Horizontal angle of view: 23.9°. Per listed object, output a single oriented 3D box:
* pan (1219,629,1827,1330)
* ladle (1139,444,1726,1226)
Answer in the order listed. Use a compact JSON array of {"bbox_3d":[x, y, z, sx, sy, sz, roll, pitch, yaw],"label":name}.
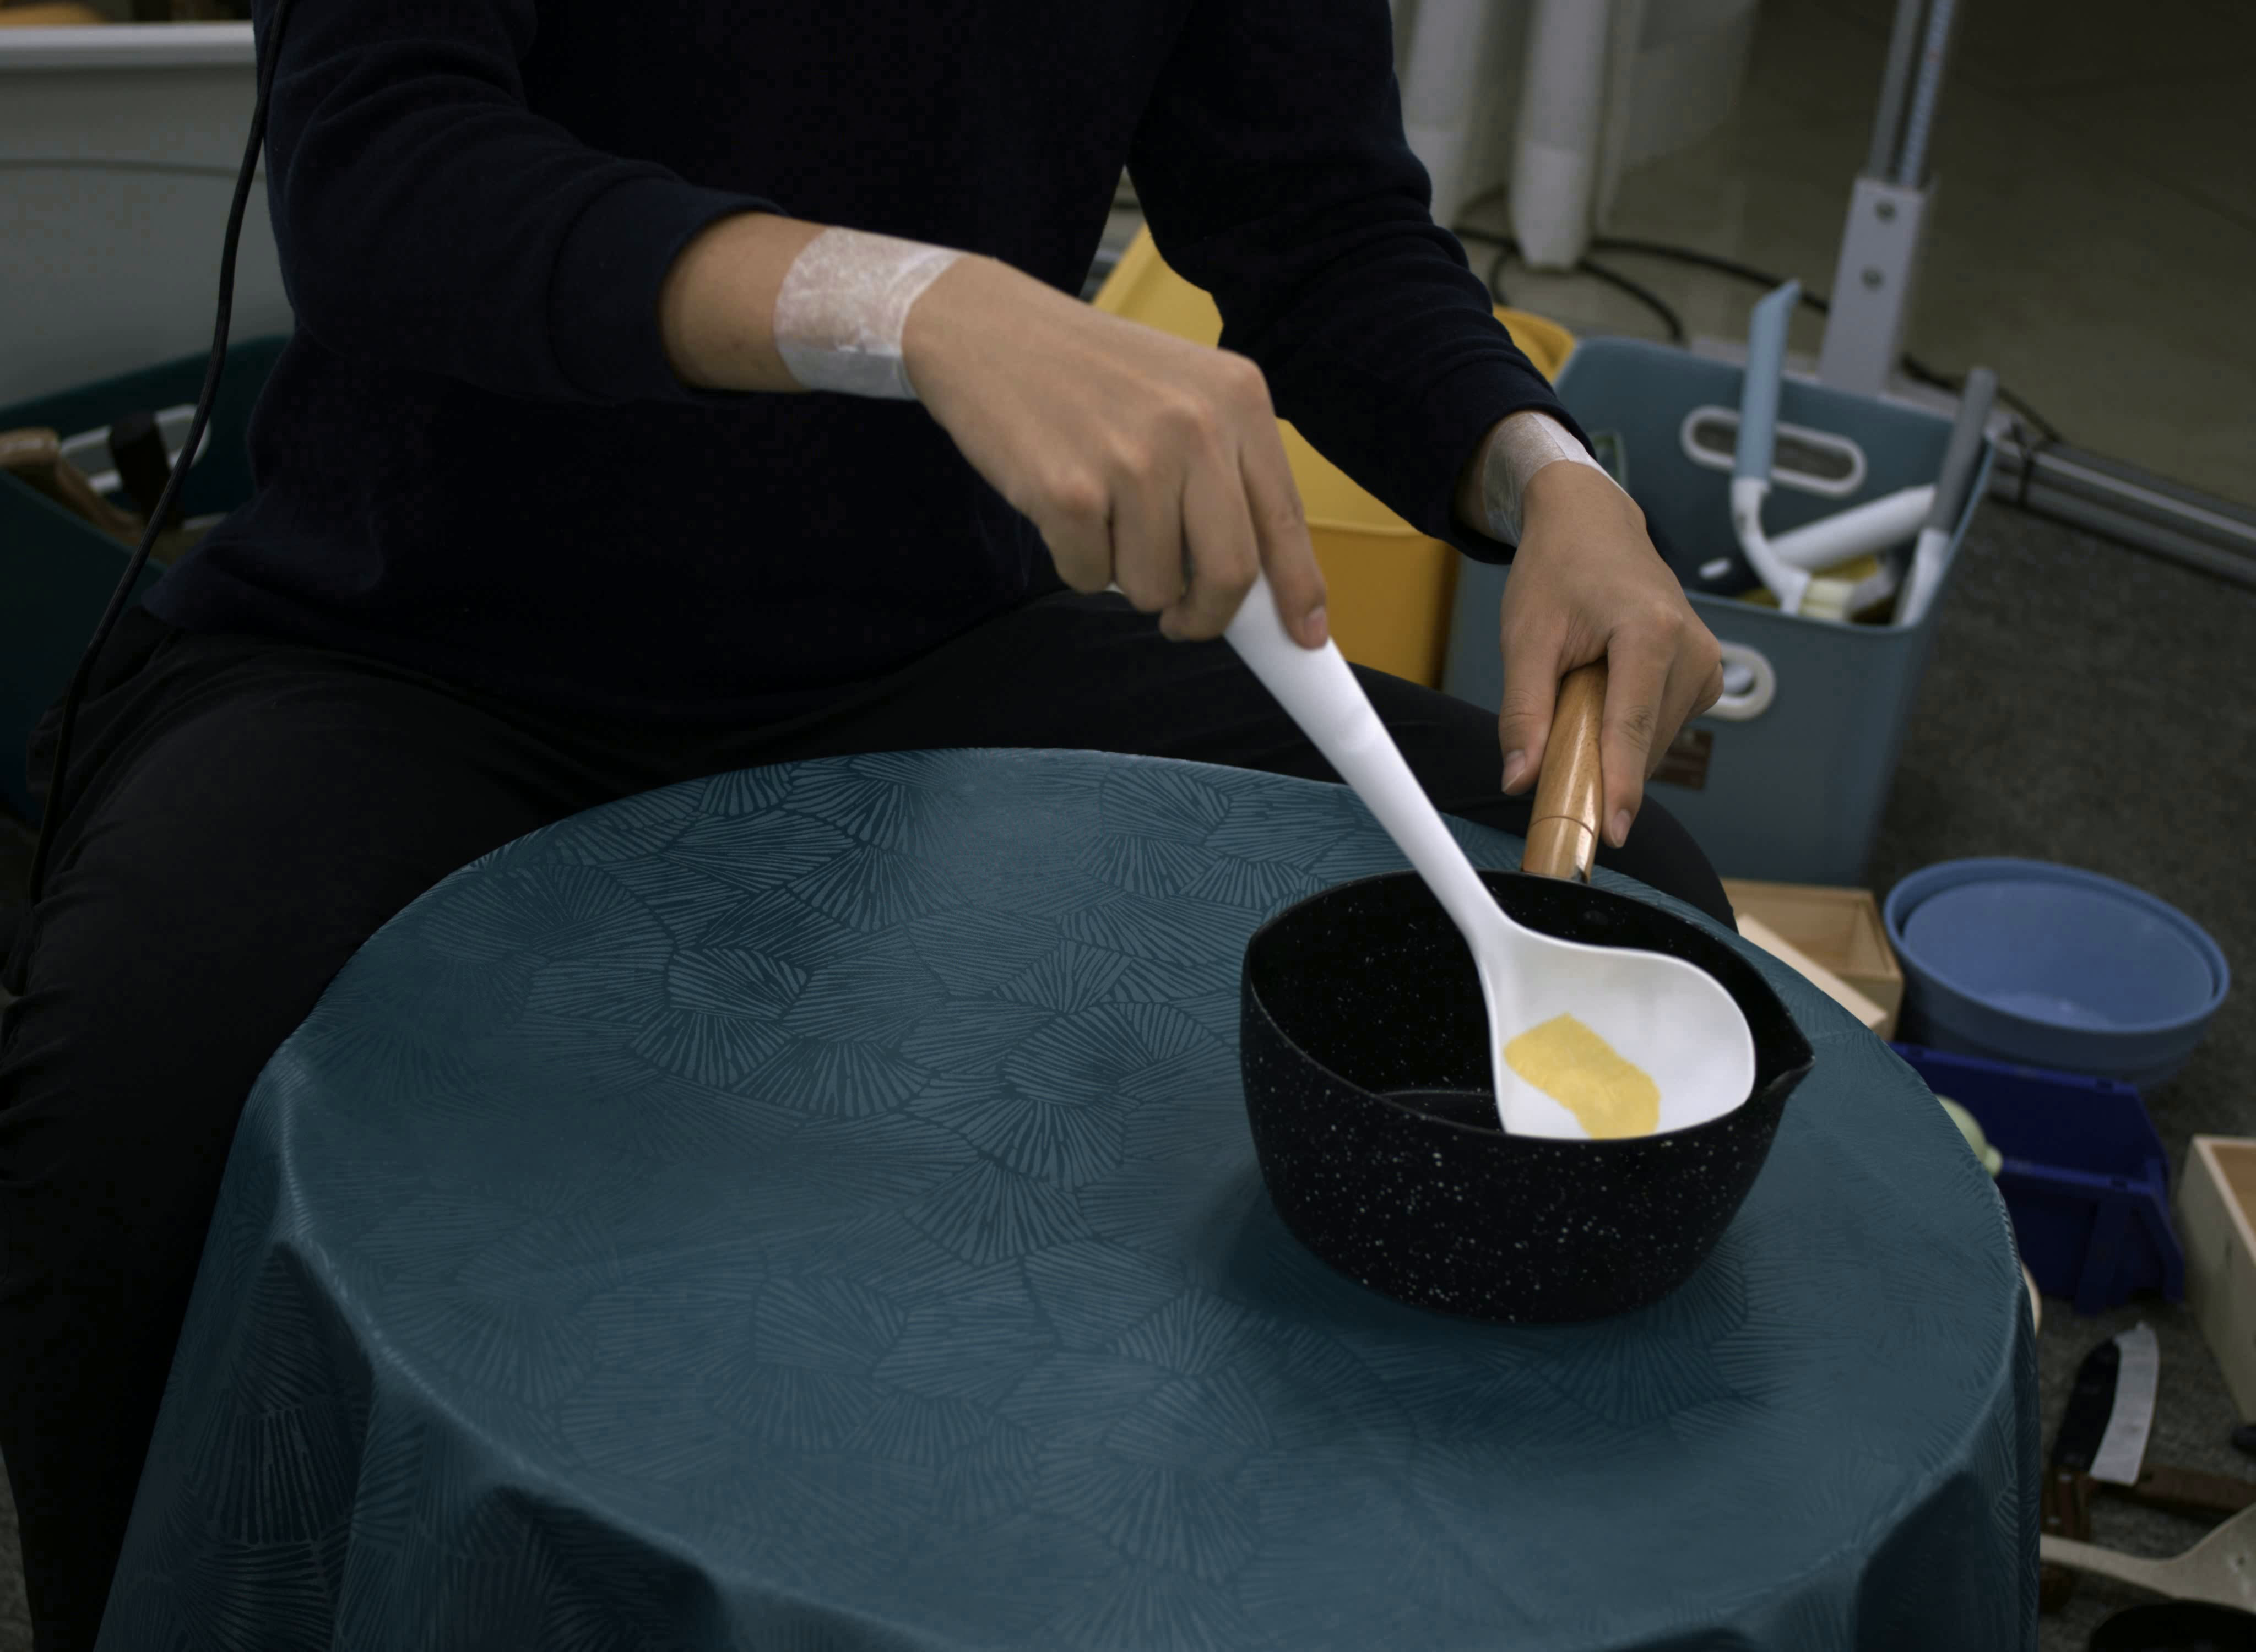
[{"bbox_3d":[0.141,0.049,1.862,0.207,0.108,0.344,9,29,6],"label":"pan"},{"bbox_3d":[0.094,0.004,1.702,0.090,0.291,0.070,-37,27,-9],"label":"ladle"}]
